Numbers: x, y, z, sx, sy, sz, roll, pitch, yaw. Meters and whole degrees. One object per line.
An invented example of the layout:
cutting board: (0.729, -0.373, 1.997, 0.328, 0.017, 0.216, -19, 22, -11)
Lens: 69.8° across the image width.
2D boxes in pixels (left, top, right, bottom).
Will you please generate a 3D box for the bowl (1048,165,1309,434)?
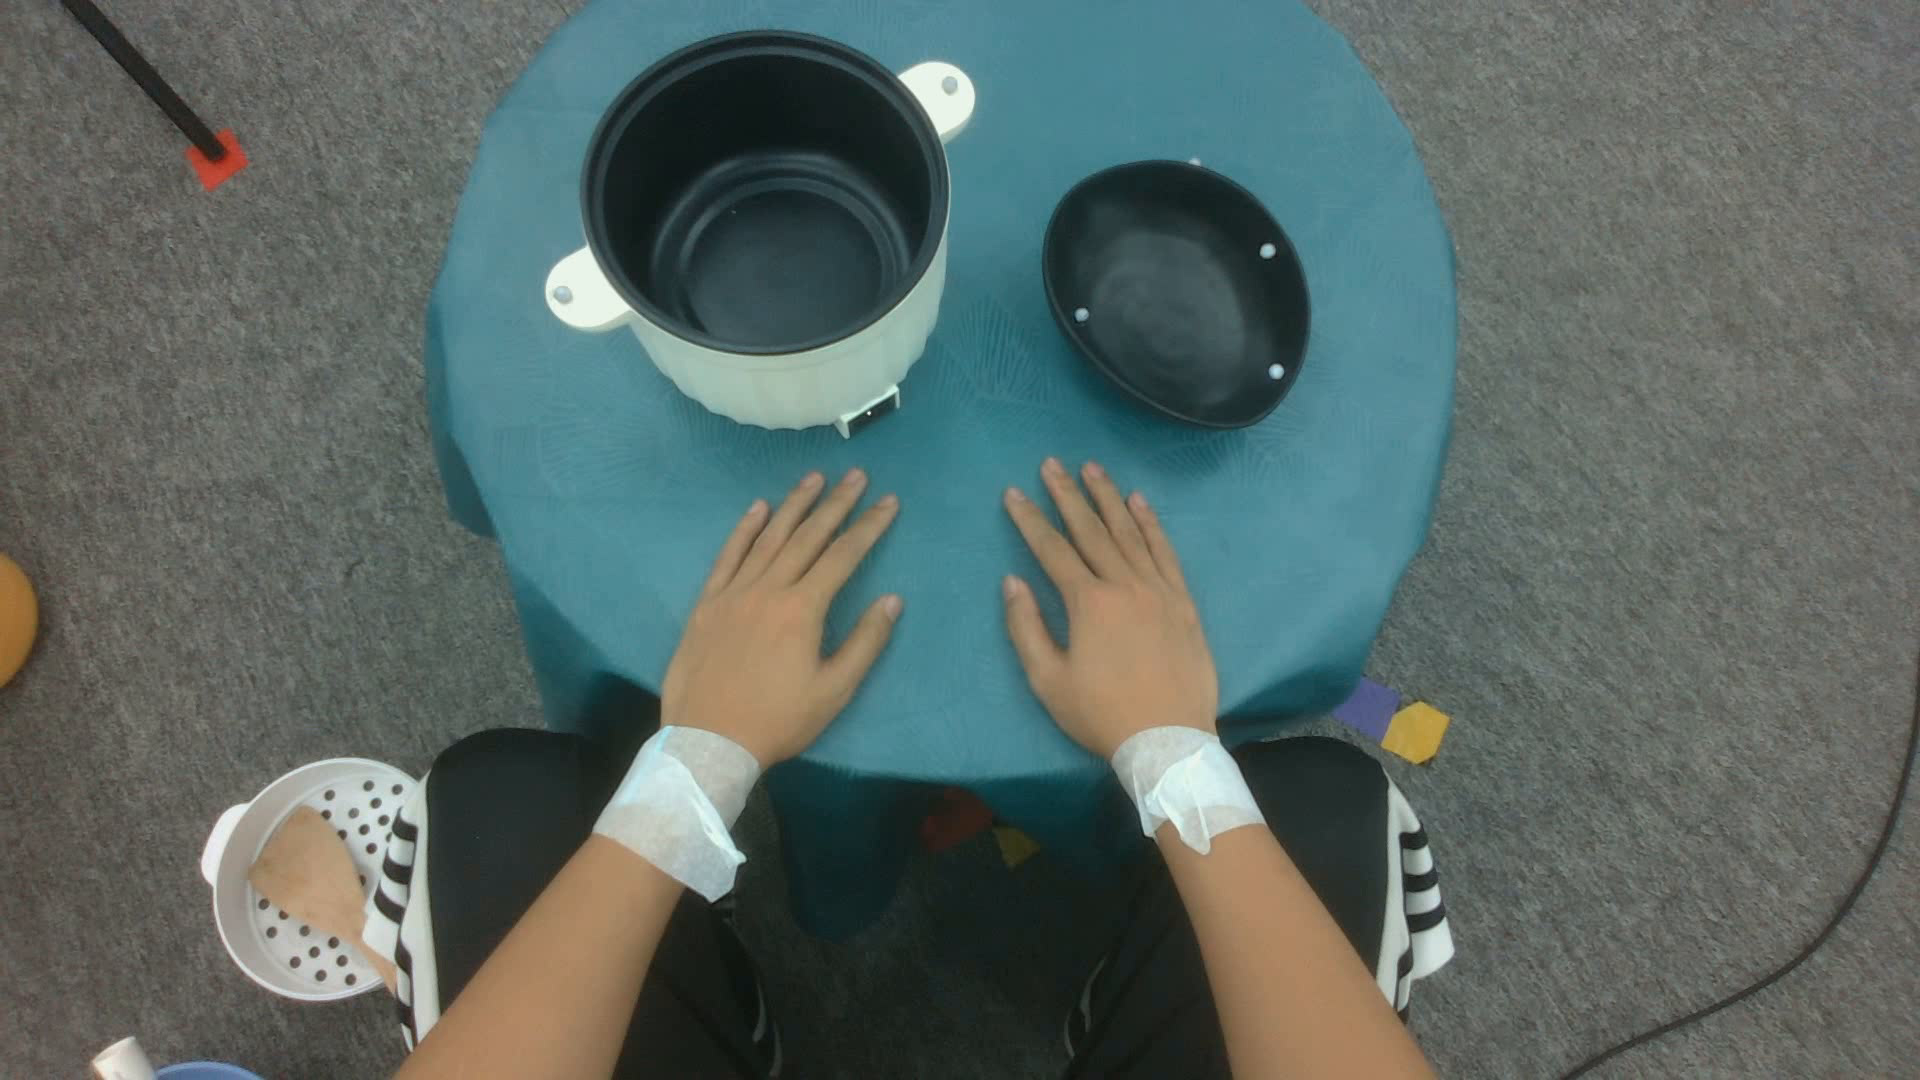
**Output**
bowl: (0.123, -0.132, 0.793, 0.137, 0.066, 0.170, -33, 77, -10)

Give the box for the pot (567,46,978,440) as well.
pot: (-0.098, -0.157, 0.758, 0.241, 0.142, 0.190, -33, 79, -12)
